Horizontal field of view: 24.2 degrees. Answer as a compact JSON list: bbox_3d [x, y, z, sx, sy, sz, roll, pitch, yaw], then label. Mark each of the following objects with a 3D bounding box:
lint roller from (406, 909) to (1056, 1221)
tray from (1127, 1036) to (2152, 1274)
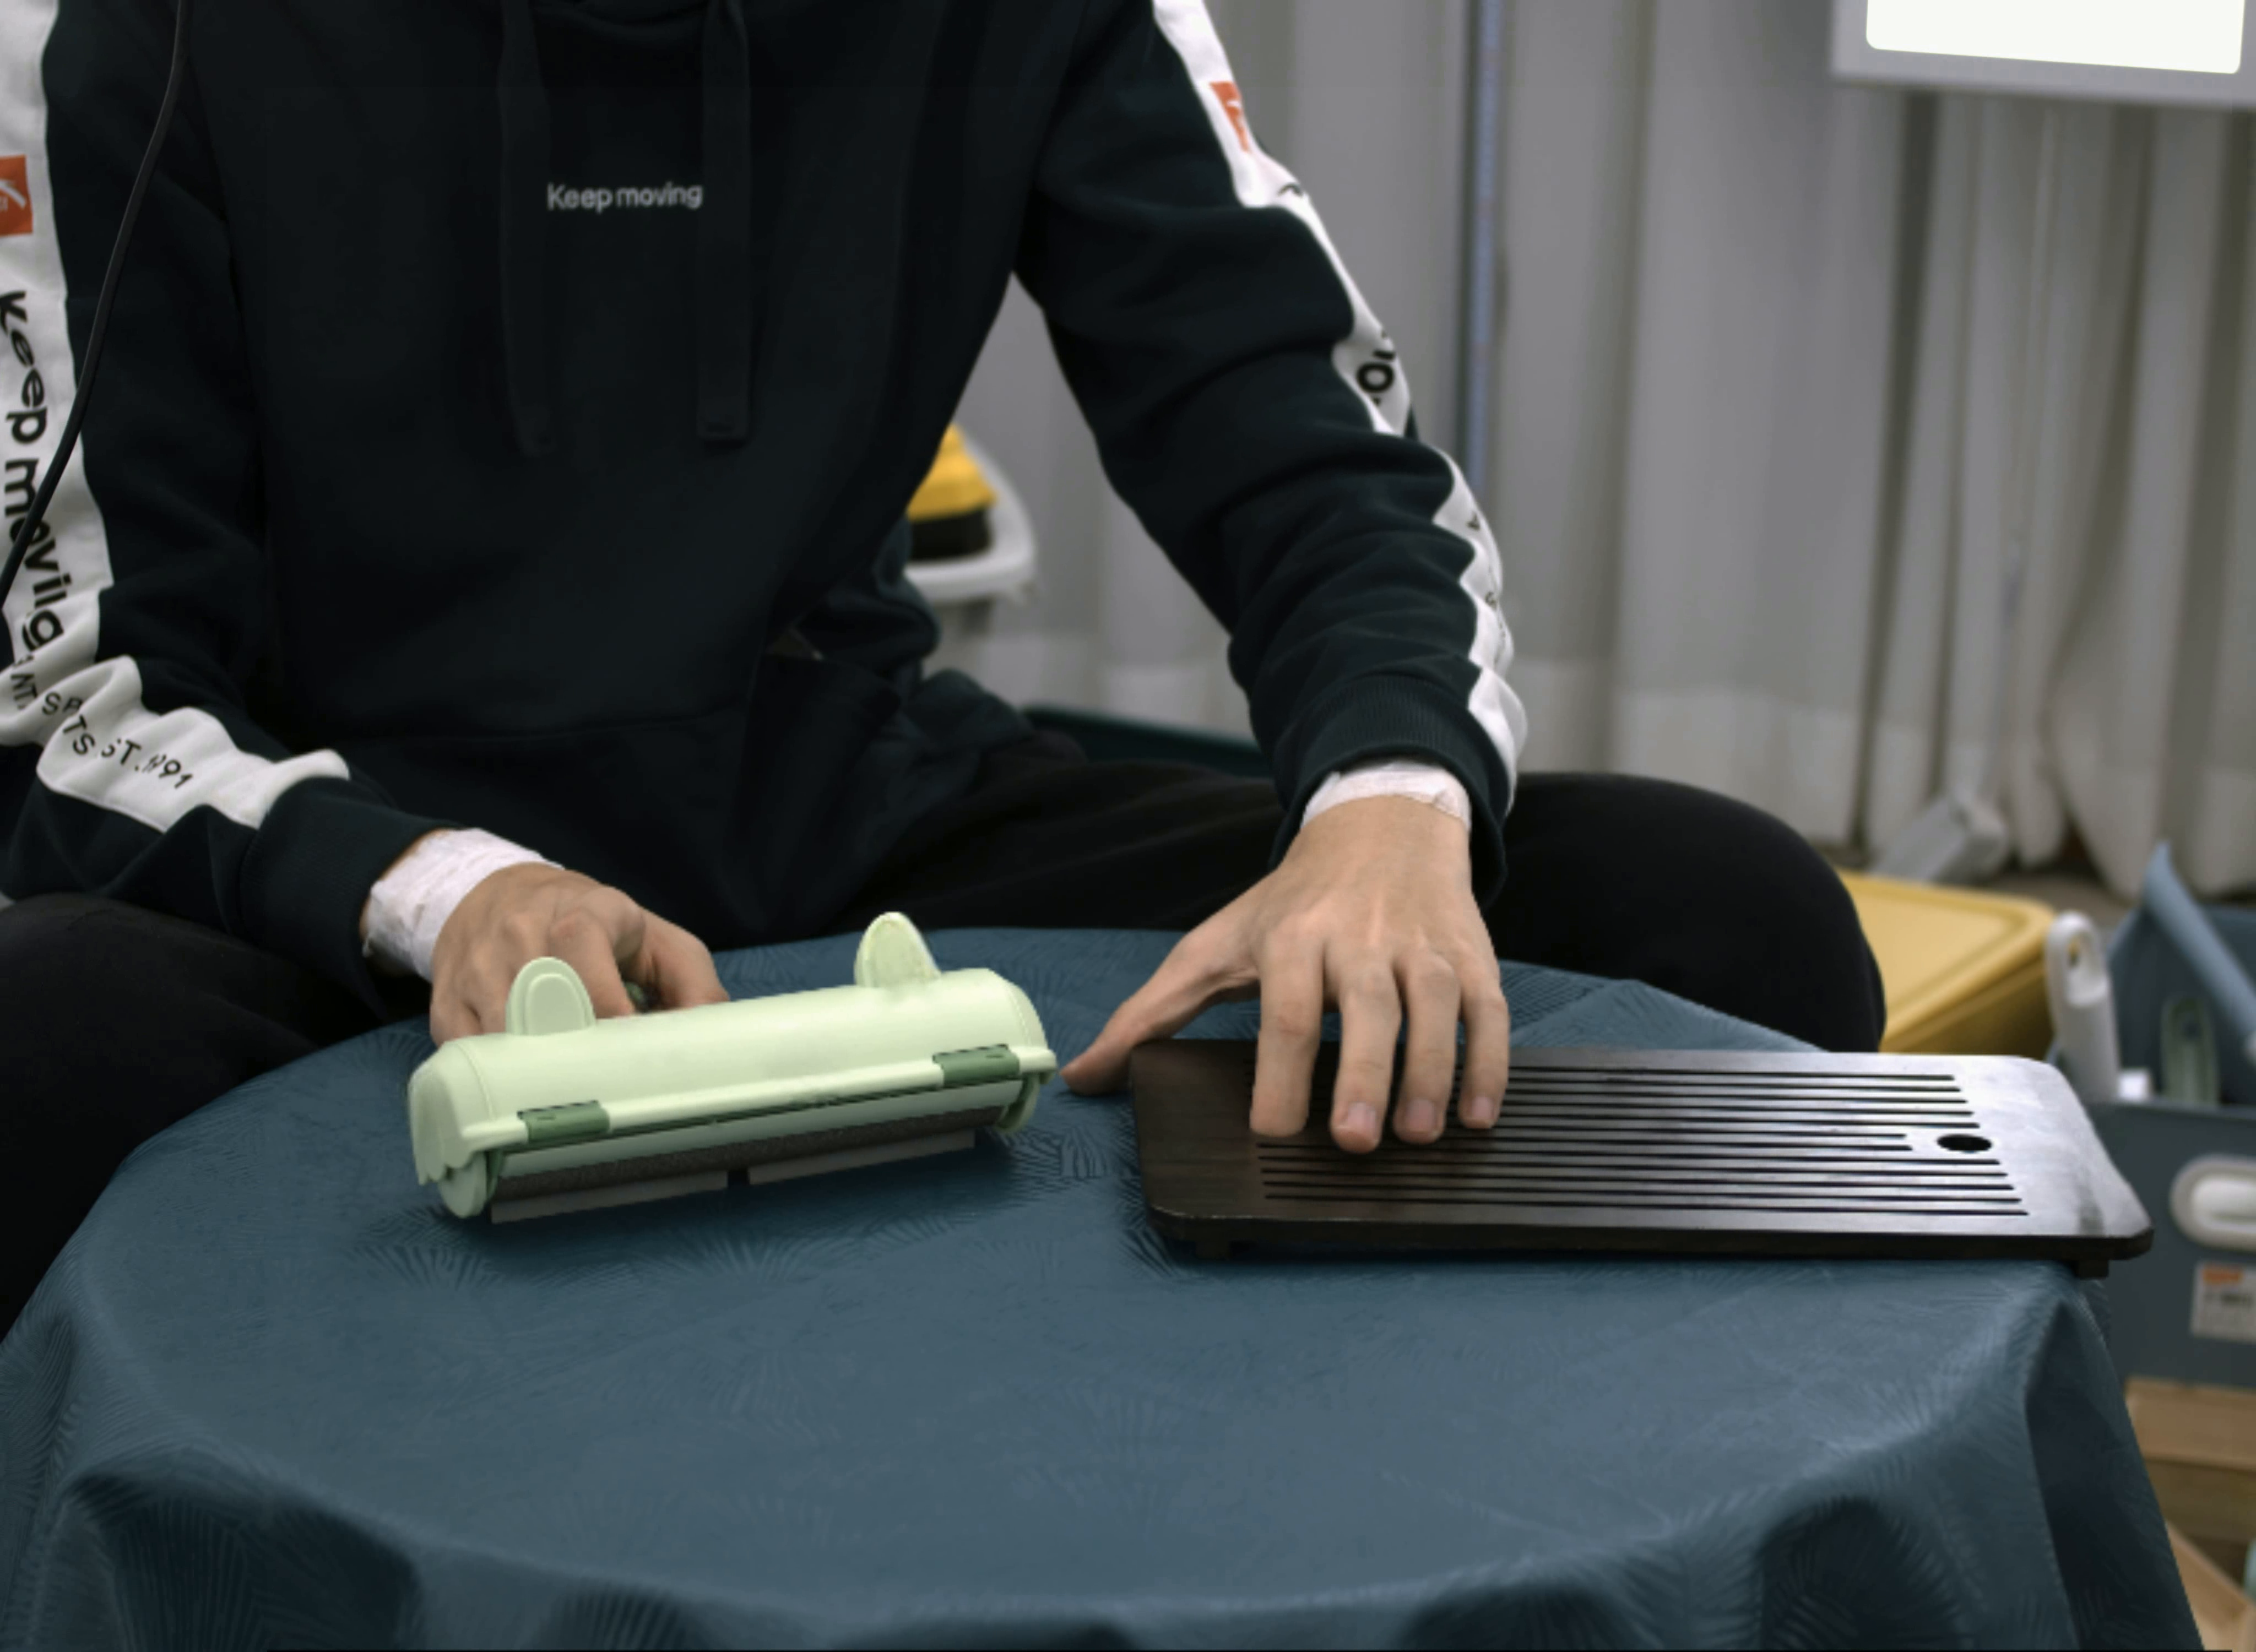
[{"bbox_3d":[-0.146,0.058,1.658,0.199,0.083,0.181,-7,21,-26],"label":"lint roller"},{"bbox_3d":[0.153,0.102,1.643,0.305,0.019,0.169,1,16,-3],"label":"tray"}]
